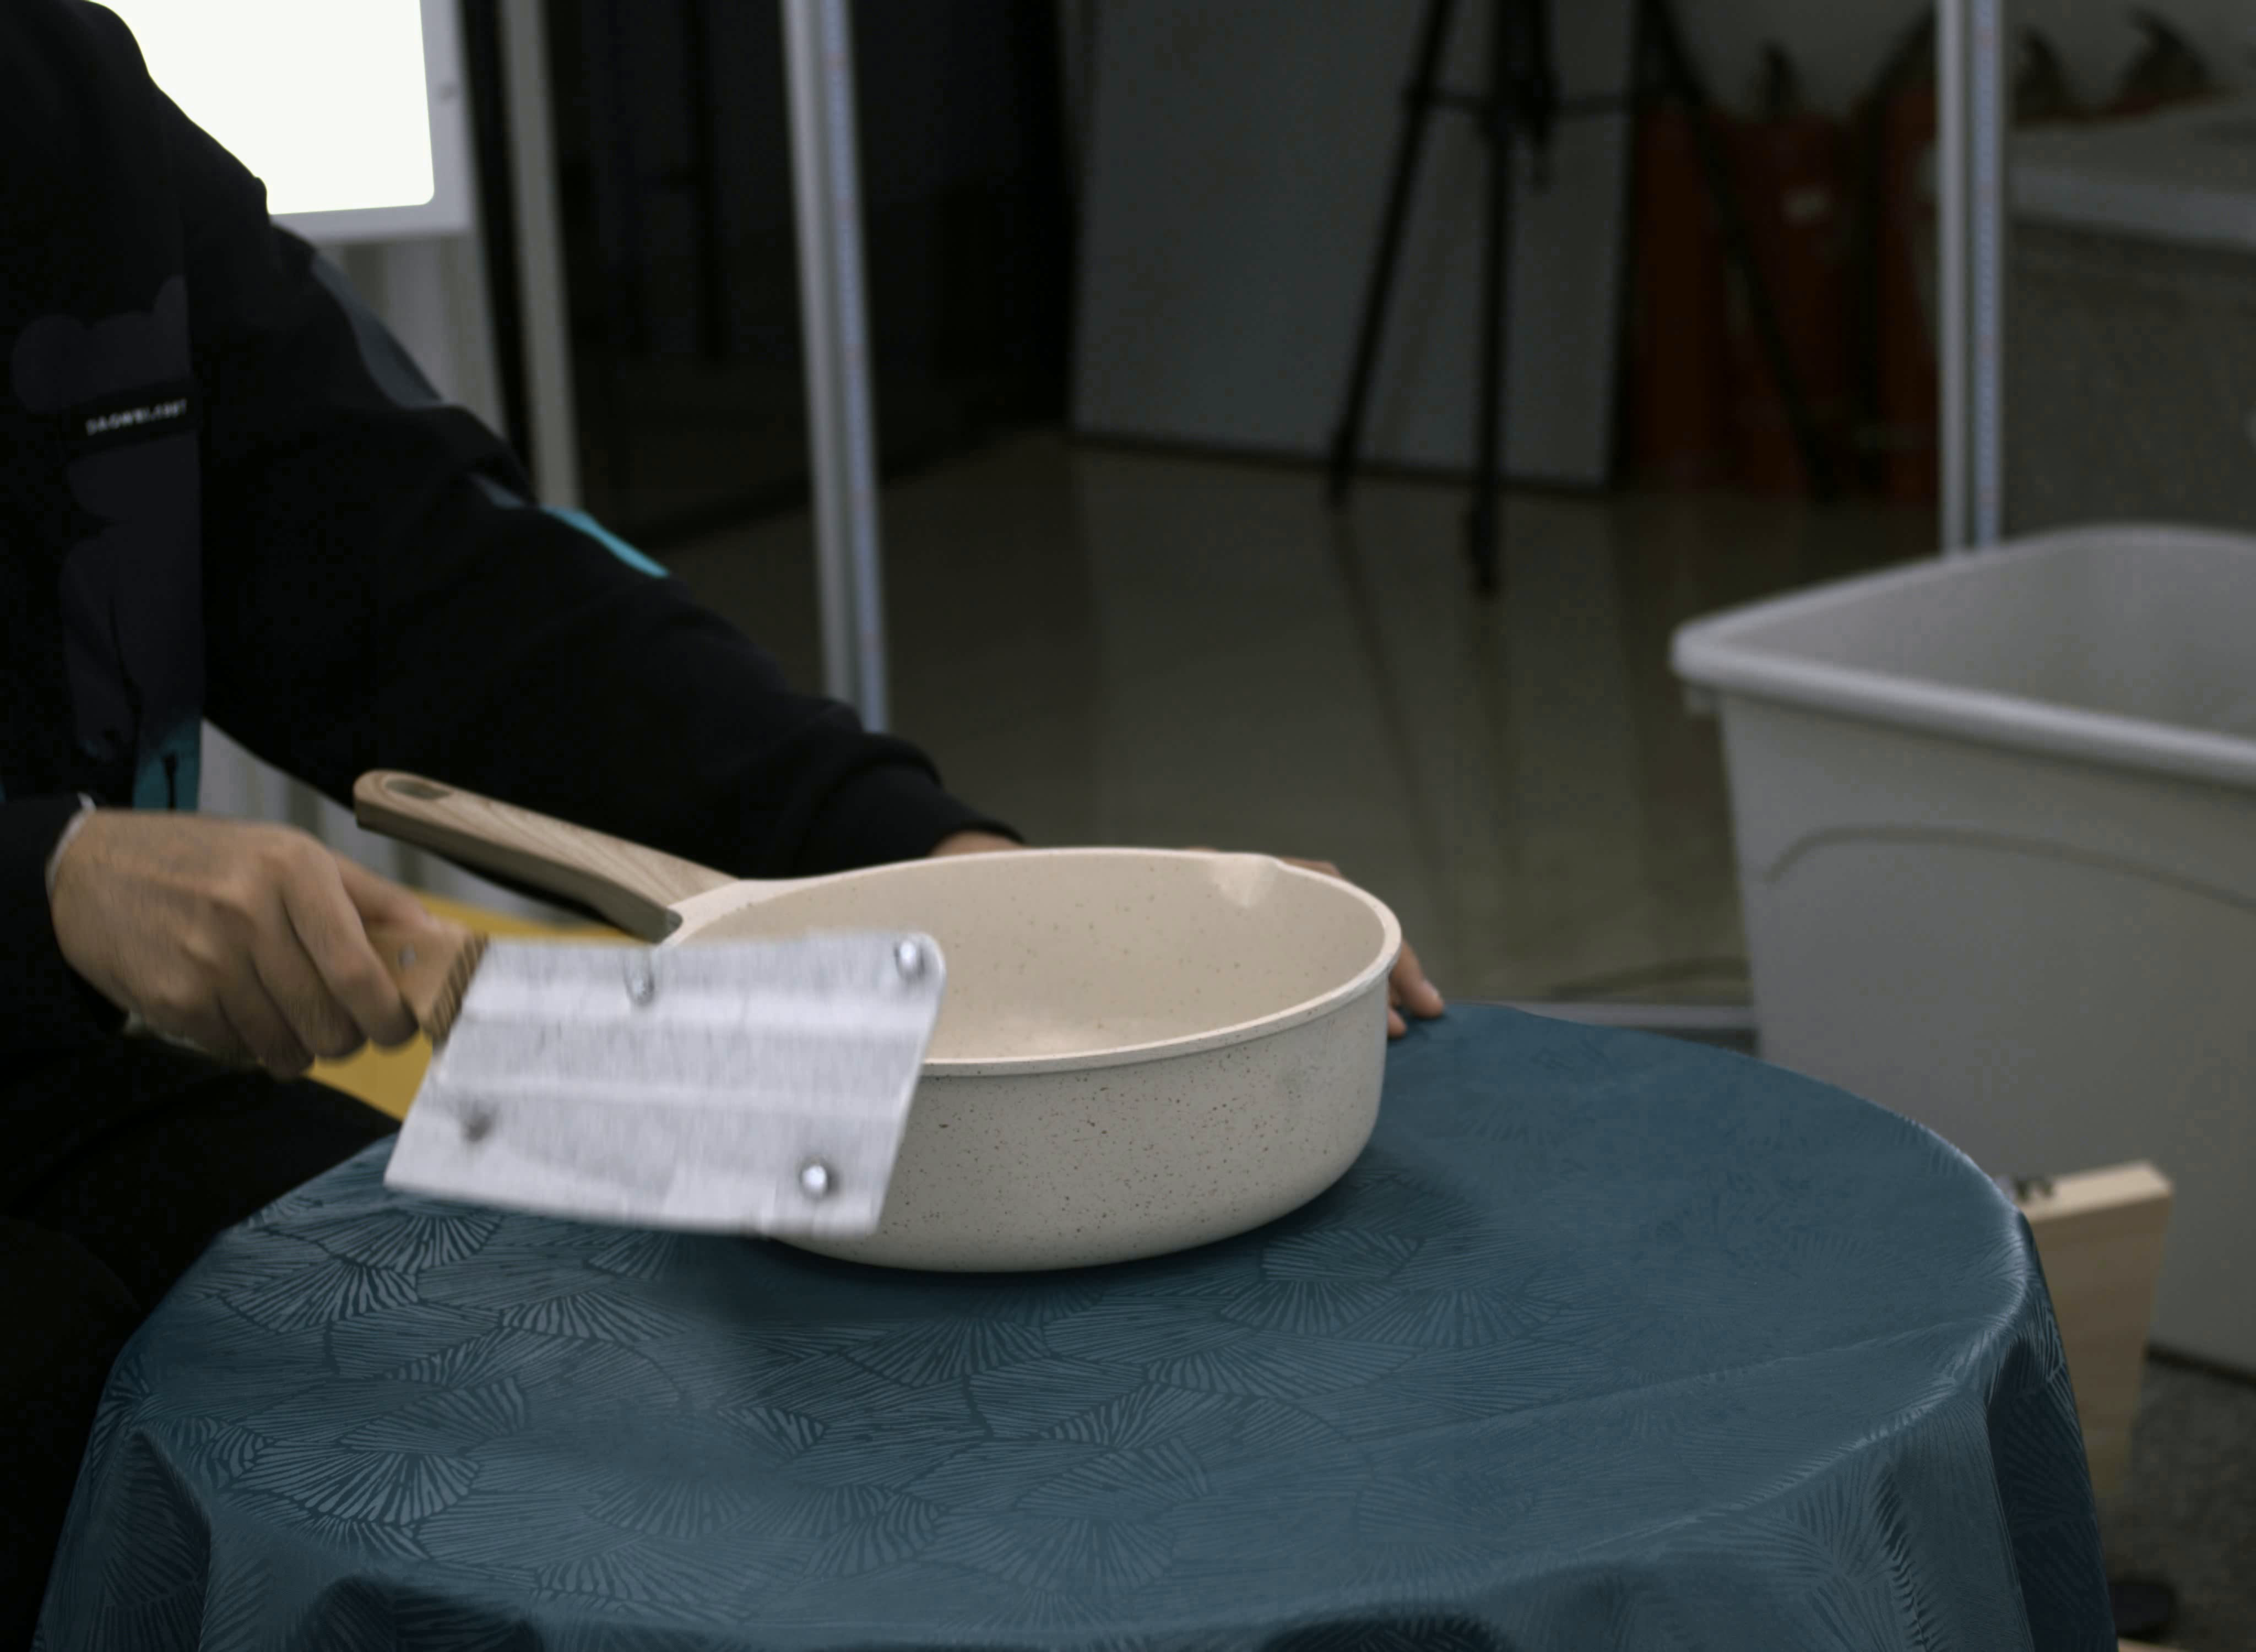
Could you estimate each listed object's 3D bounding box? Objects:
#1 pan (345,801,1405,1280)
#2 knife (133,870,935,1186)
[{"bbox_3d":[-0.102,0.062,1.835,0.438,0.103,0.258,7,20,39],"label":"pan"},{"bbox_3d":[-0.183,0.056,1.628,0.317,0.114,0.021,4,-28,37],"label":"knife"}]
